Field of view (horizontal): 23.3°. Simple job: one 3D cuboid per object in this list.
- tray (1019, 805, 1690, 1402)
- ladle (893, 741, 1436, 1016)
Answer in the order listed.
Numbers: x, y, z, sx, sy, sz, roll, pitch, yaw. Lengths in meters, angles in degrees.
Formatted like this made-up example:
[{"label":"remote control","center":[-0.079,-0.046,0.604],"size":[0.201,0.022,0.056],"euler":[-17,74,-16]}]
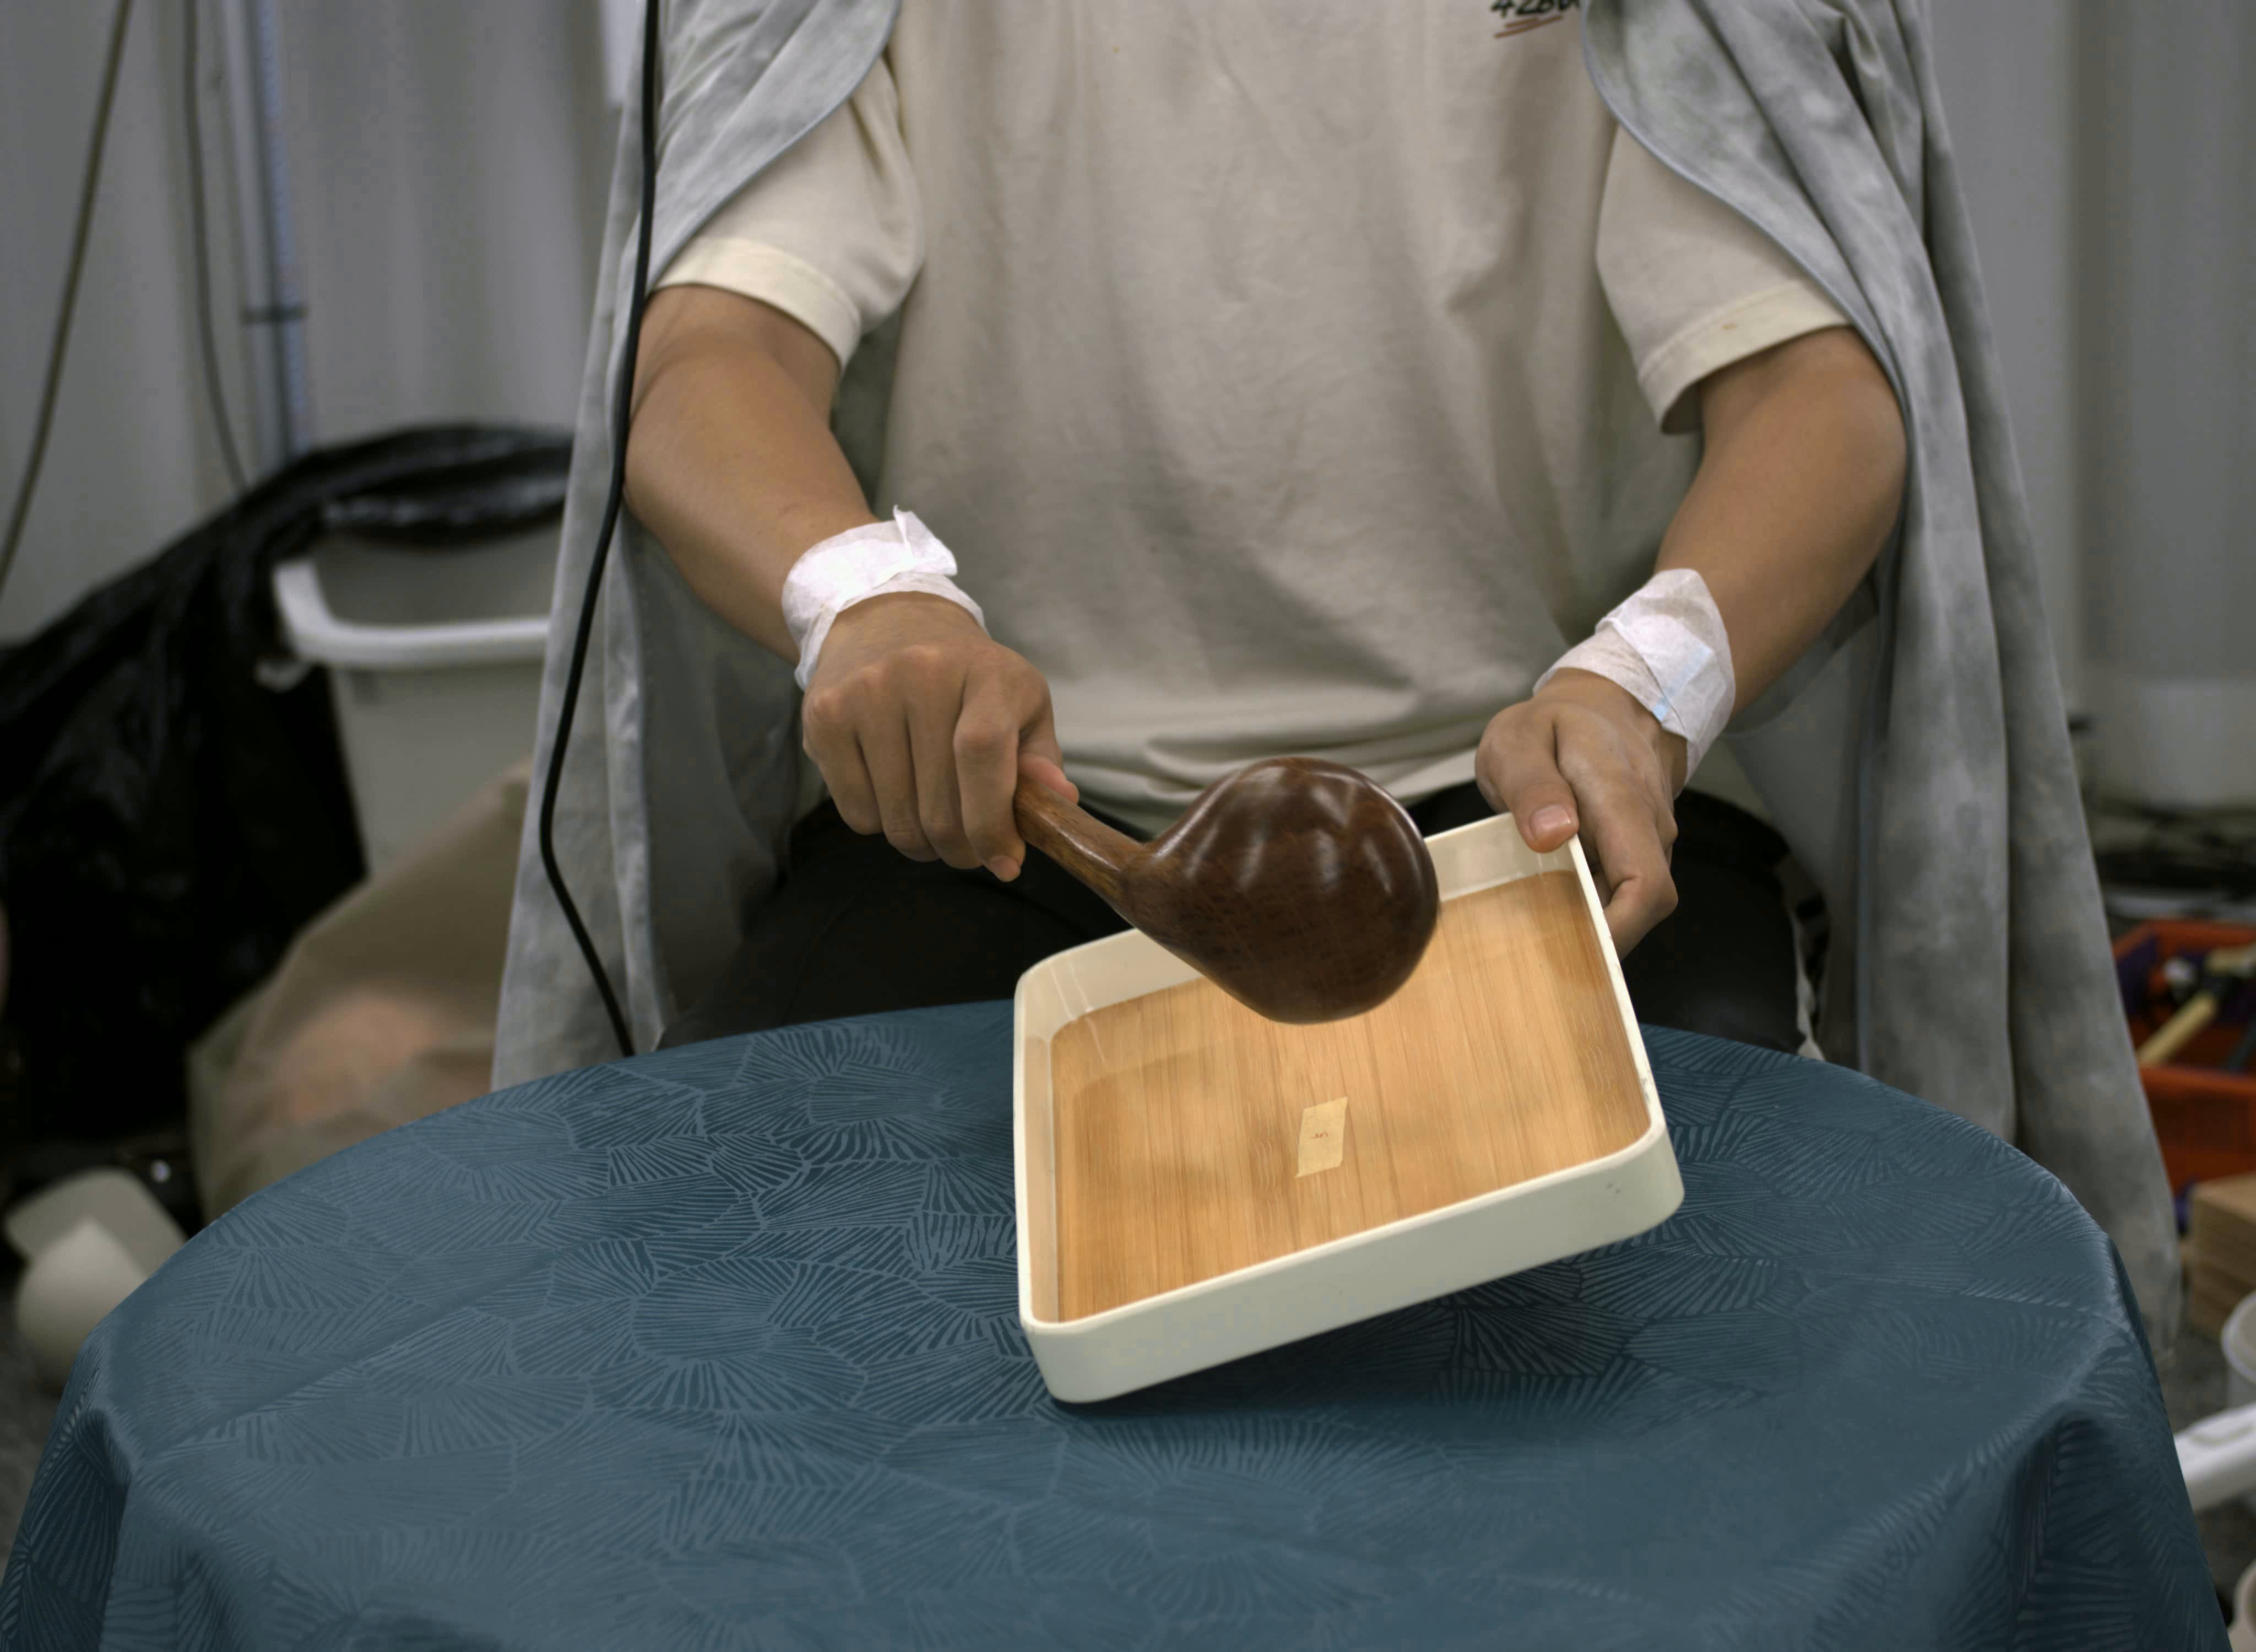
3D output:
[{"label":"tray","center":[0.061,0.079,1.655],"size":[0.191,0.027,0.303],"euler":[-18,18,5]},{"label":"ladle","center":[0.008,-0.002,1.692],"size":[0.076,0.081,0.276],"euler":[-9,13,-21]}]
